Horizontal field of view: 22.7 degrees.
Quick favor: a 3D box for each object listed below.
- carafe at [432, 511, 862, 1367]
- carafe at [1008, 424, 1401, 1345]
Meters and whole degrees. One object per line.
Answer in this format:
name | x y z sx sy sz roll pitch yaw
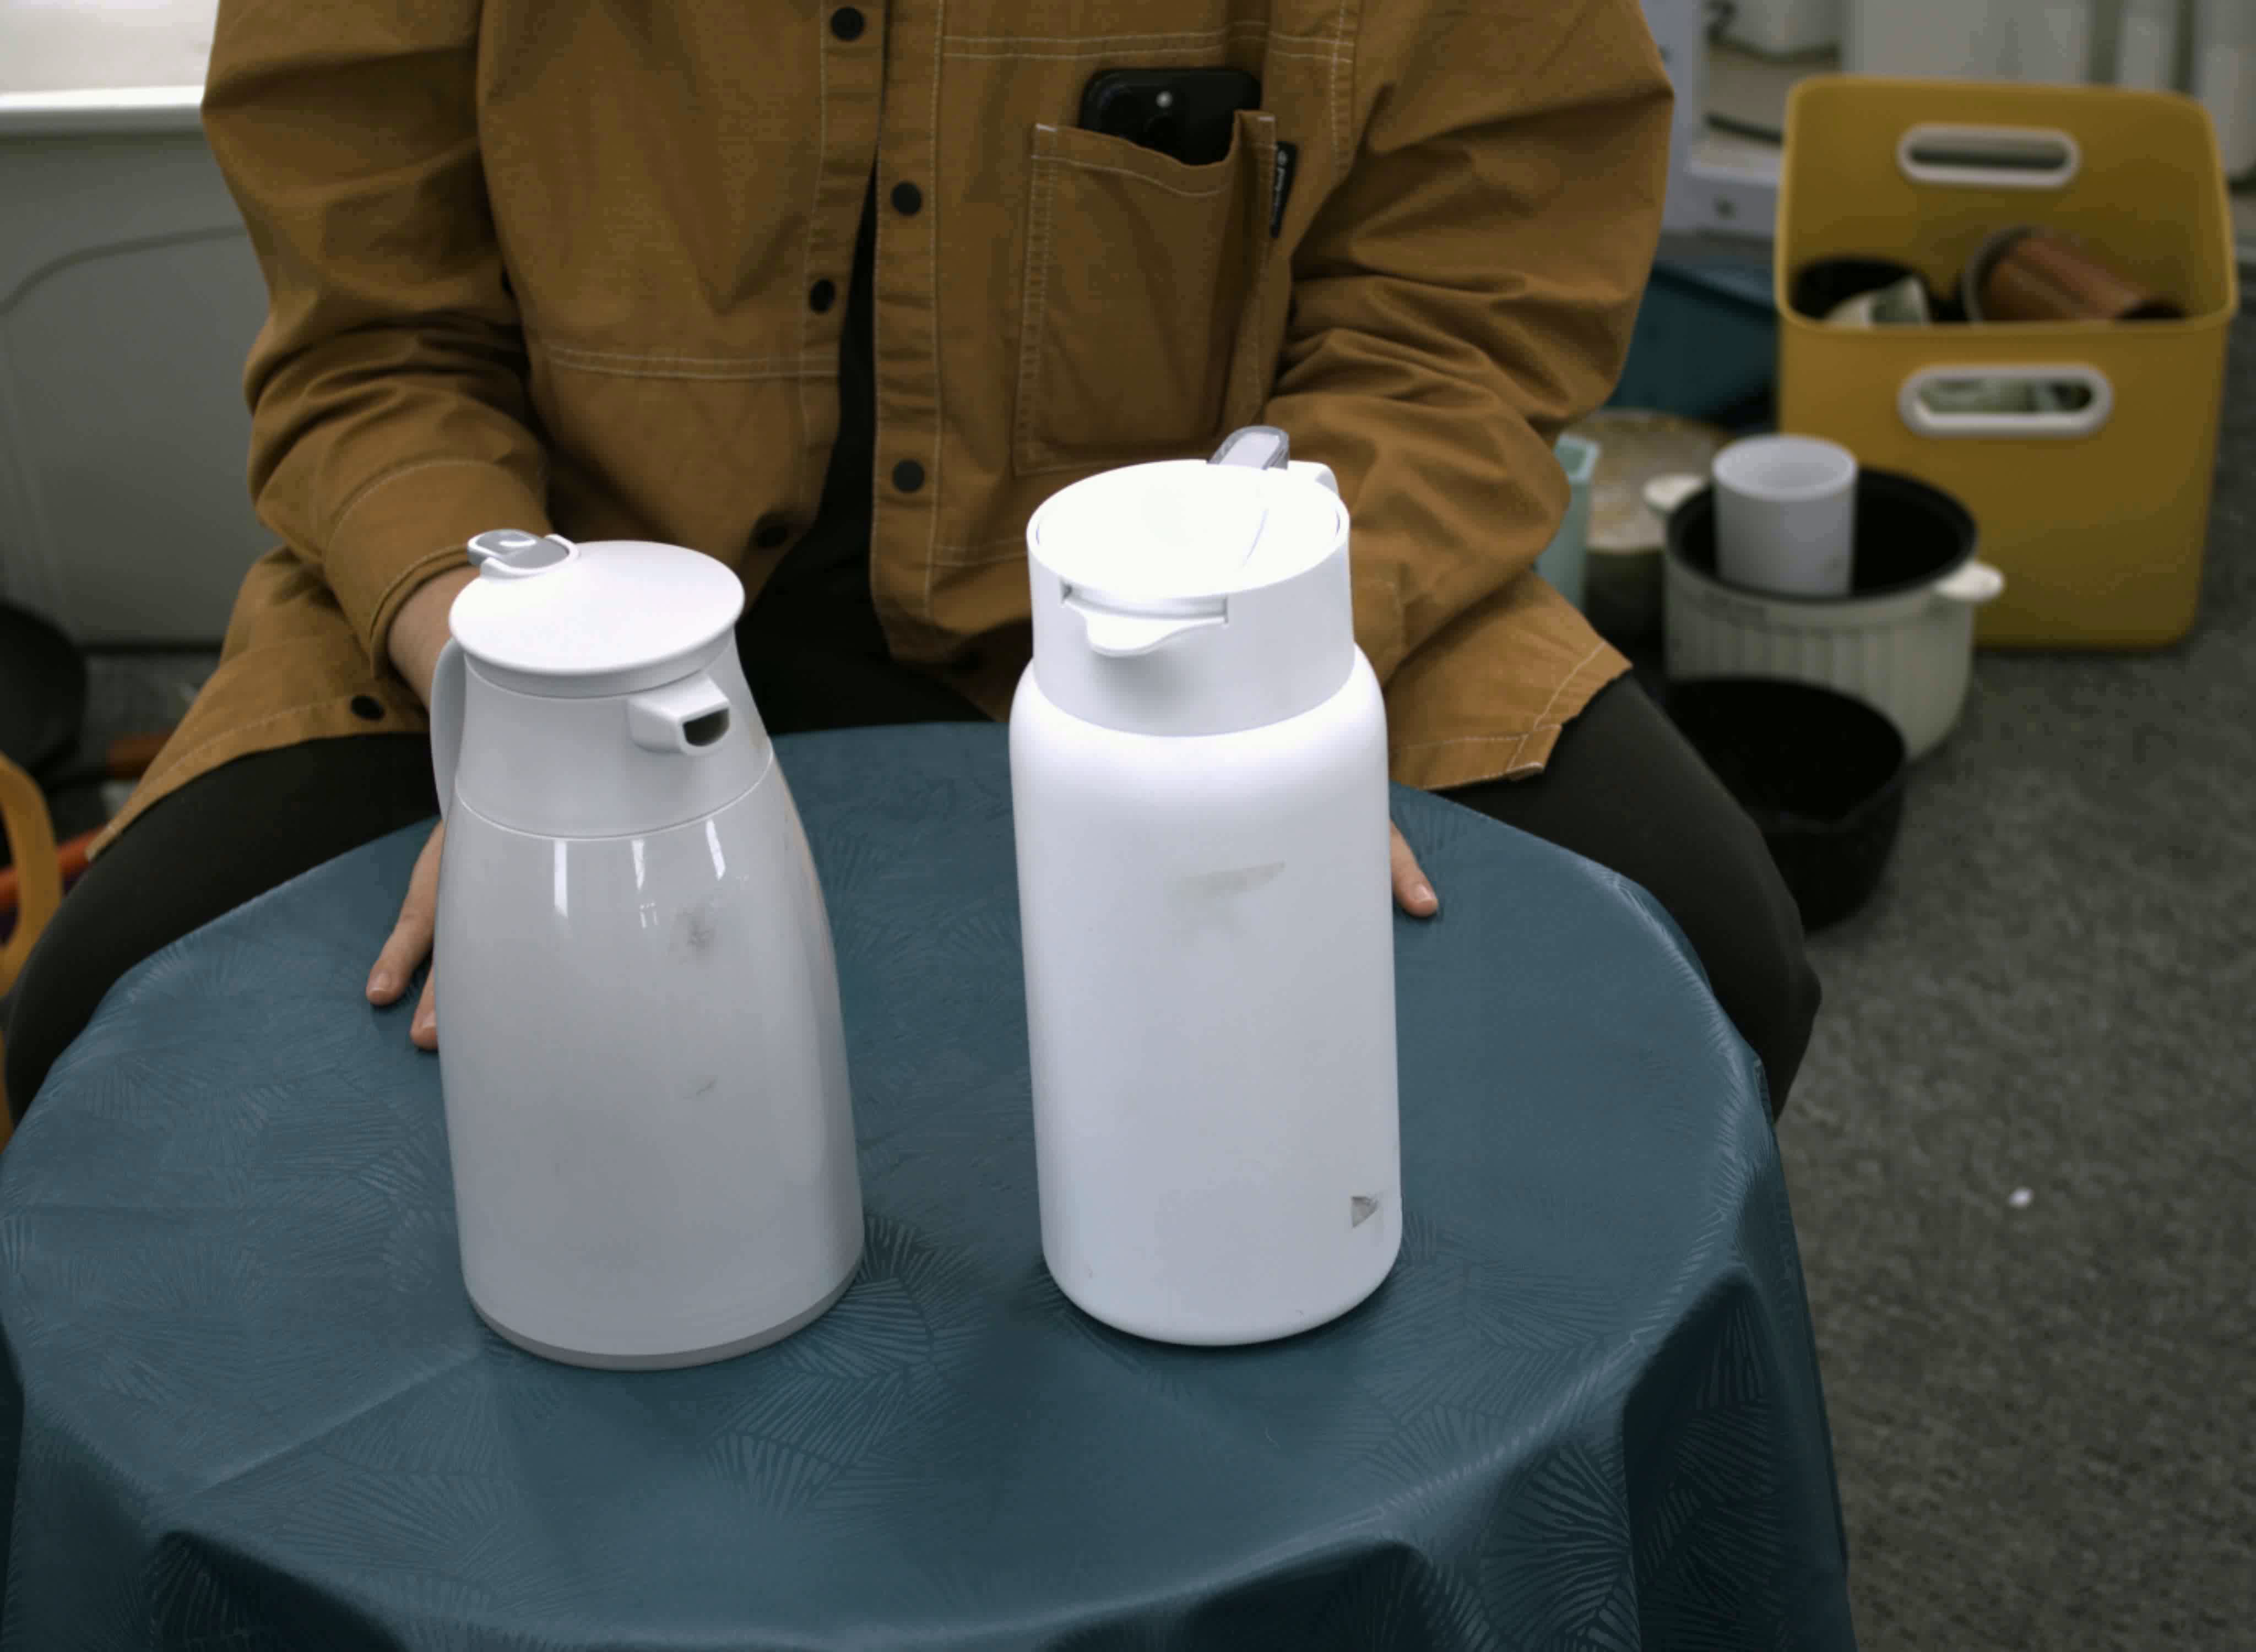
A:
carafe | -0.170 0.026 1.791 0.133 0.246 0.168 -20 29 -31
carafe | 0.028 0.015 1.775 0.123 0.266 0.176 4 27 19
